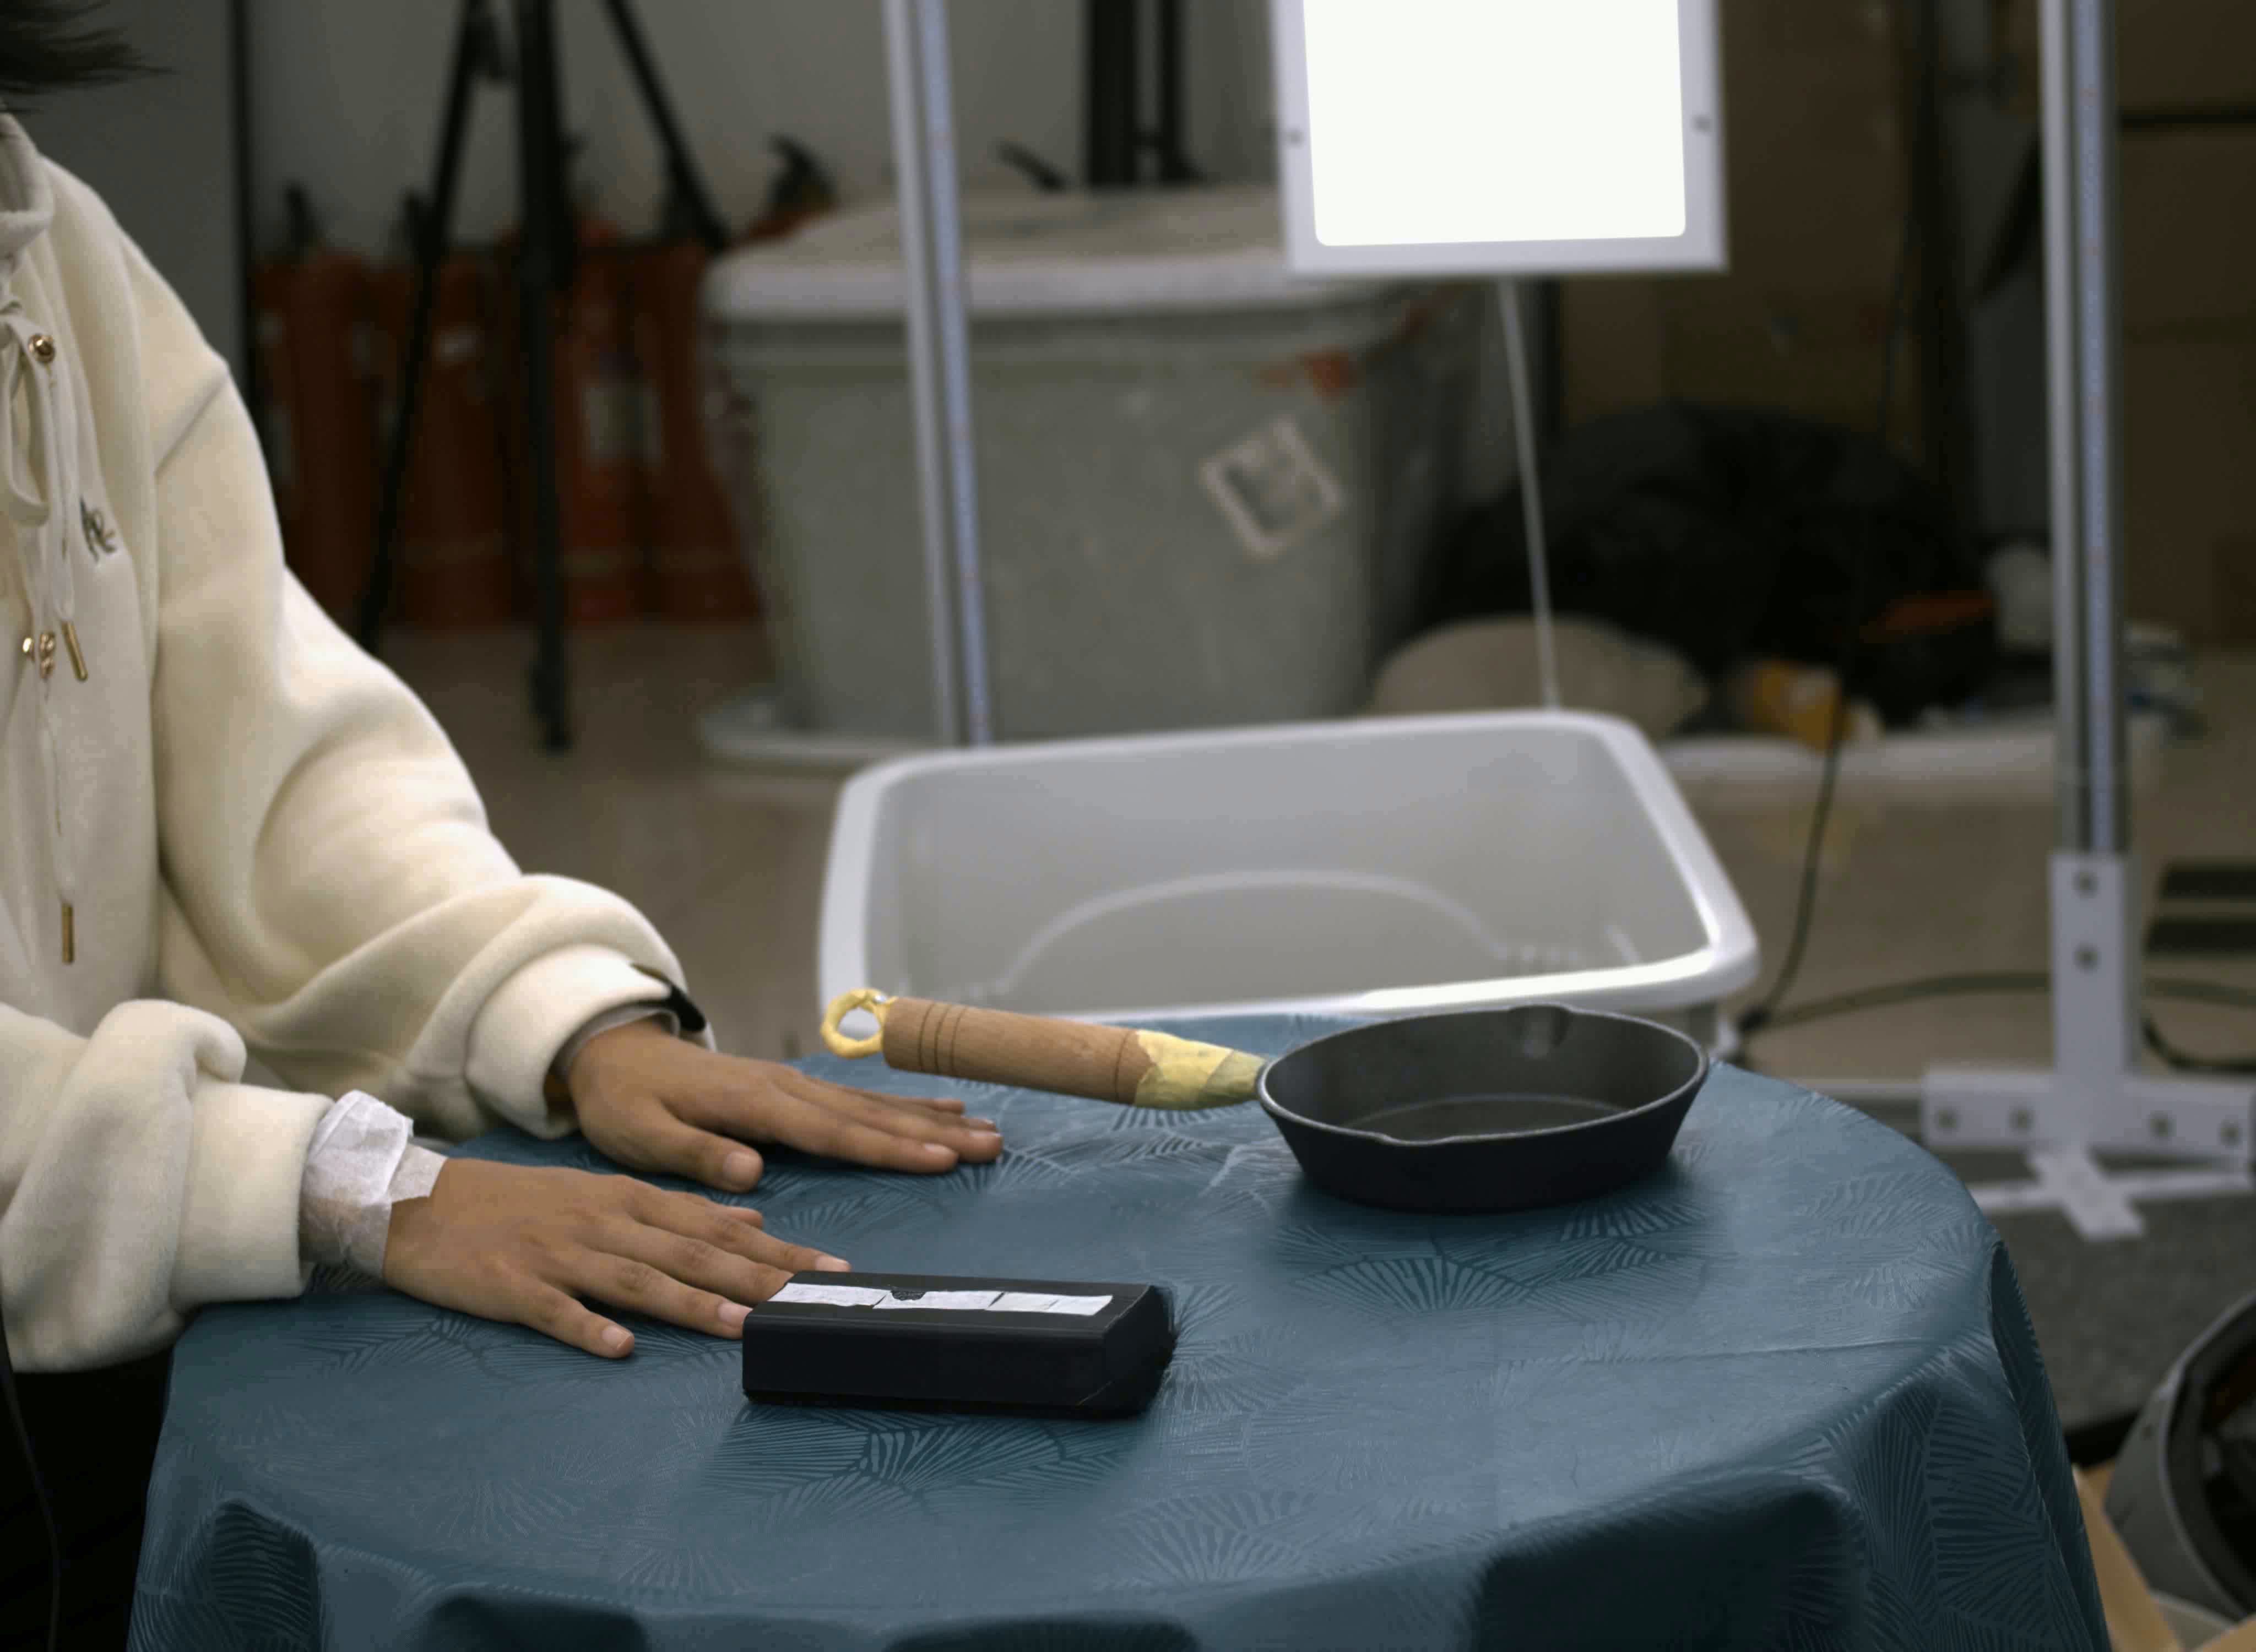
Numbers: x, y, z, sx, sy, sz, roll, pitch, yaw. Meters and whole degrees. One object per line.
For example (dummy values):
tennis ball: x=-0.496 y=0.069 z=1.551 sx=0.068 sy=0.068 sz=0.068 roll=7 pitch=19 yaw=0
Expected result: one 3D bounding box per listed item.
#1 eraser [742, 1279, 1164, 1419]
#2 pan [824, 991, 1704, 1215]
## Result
eraser: x=-0.053 y=0.162 z=1.717 sx=0.127 sy=0.030 sz=0.052 roll=0 pitch=14 yaw=23
pan: x=0.044 y=0.089 z=1.928 sx=0.329 sy=0.050 sz=0.165 roll=2 pitch=16 yaw=24
